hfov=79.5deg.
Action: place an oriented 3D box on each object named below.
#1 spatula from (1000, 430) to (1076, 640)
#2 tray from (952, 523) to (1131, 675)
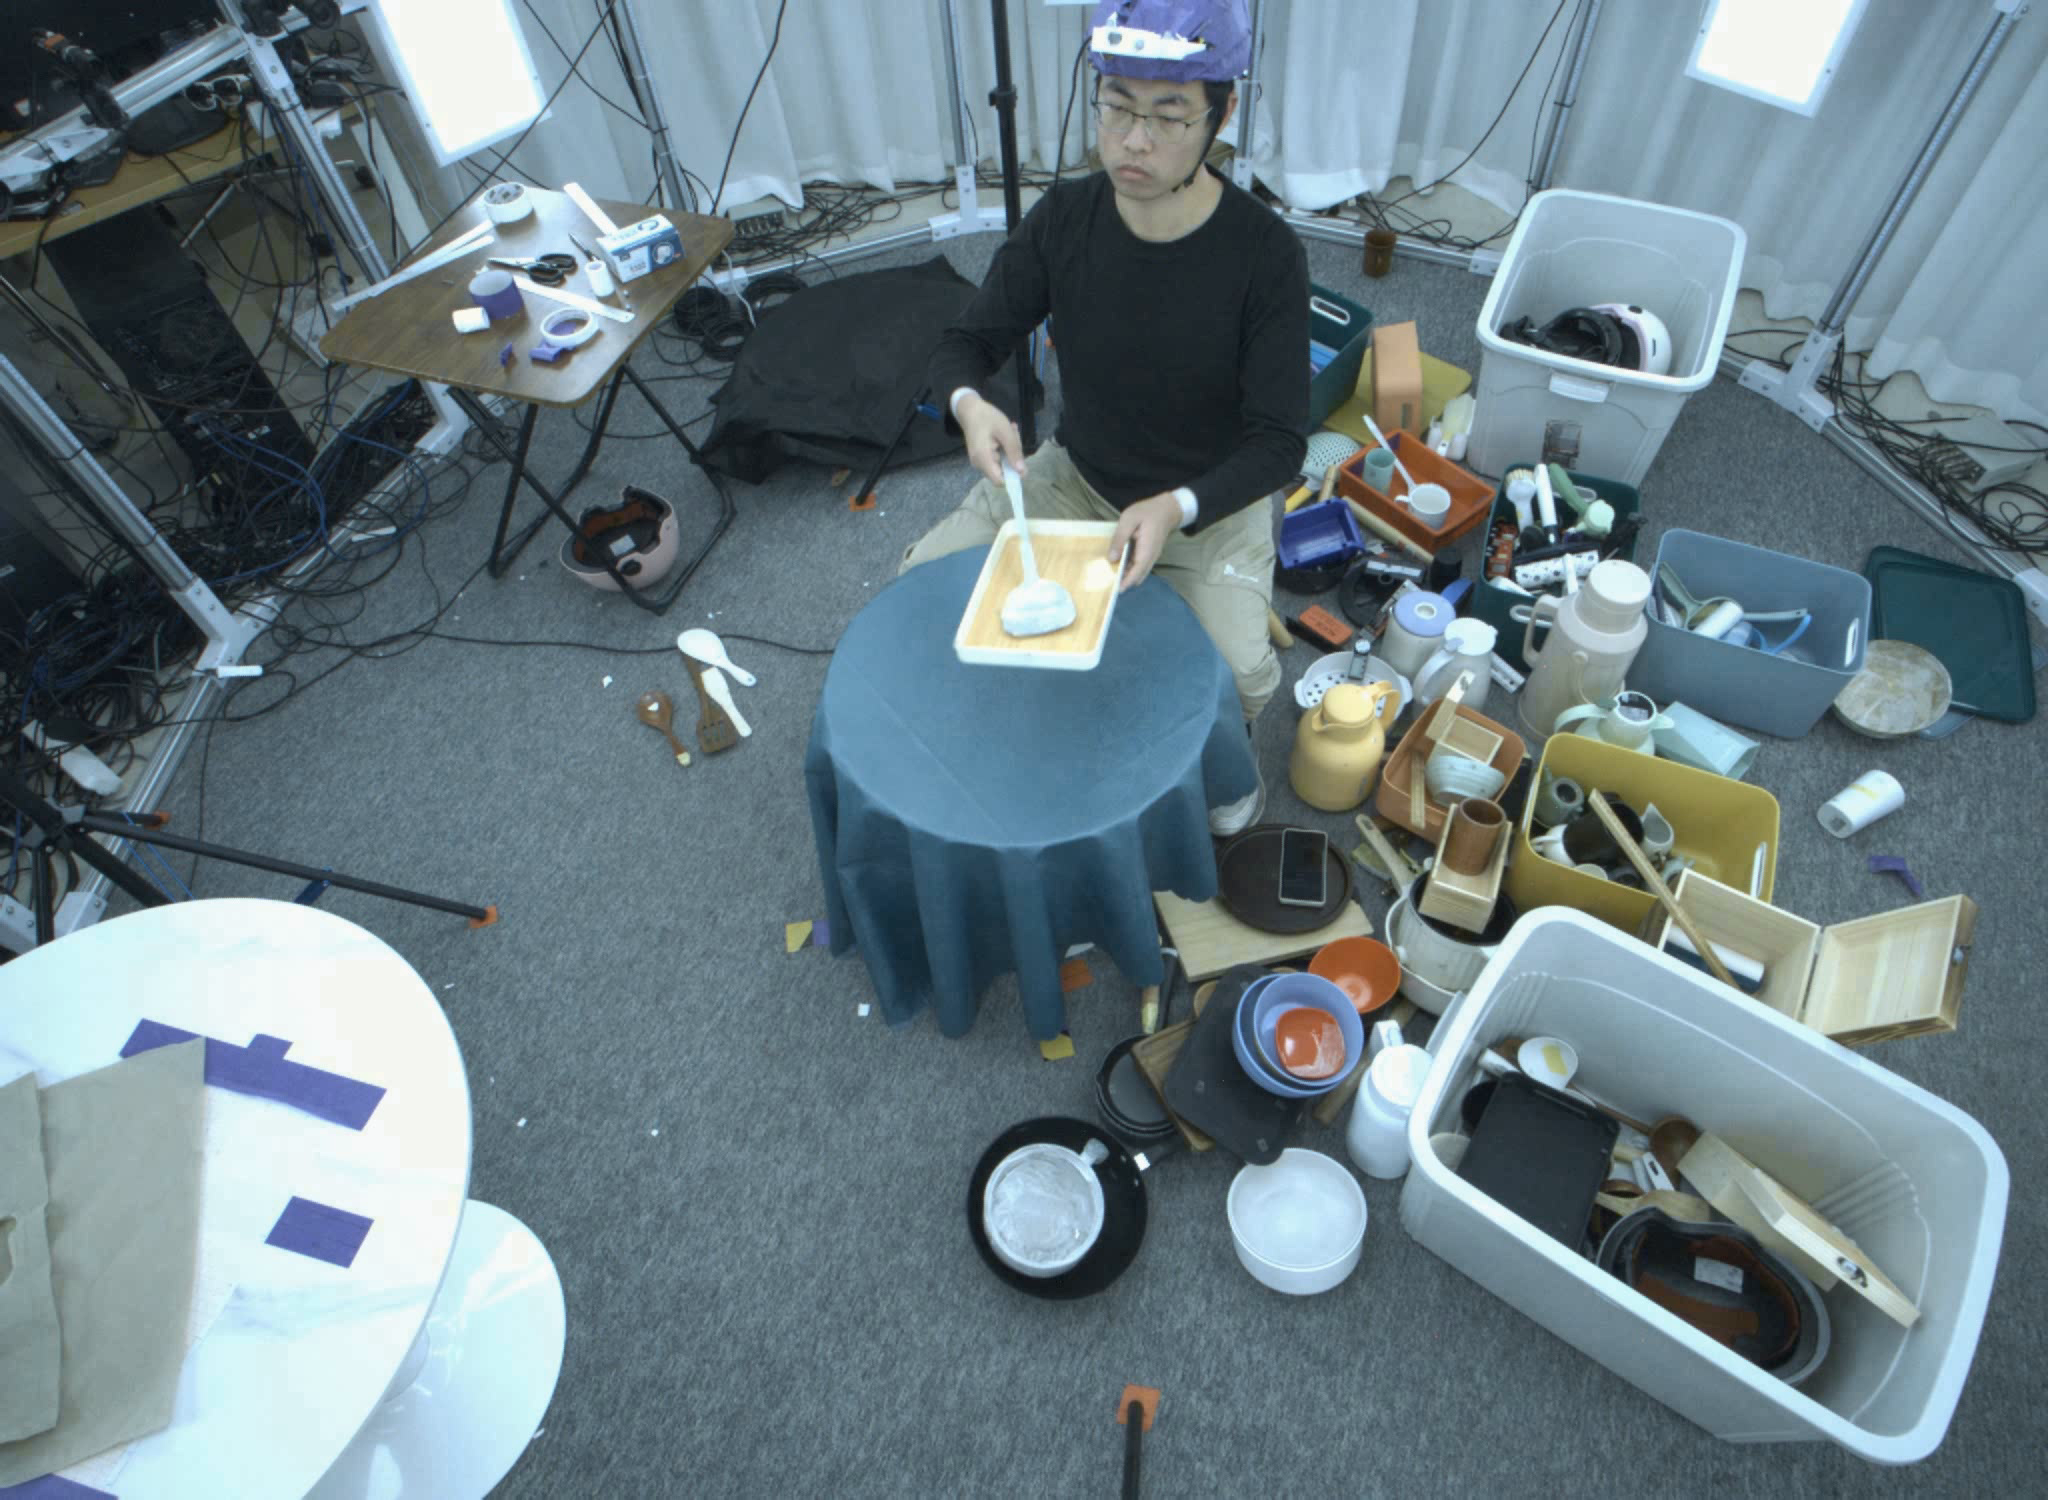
[{"bbox_3d":[-0.004,-0.305,1.675,0.099,0.045,0.361,-10,70,1],"label":"spatula"},{"bbox_3d":[0.030,-0.211,1.659,0.190,0.028,0.299,5,45,12],"label":"tray"}]
